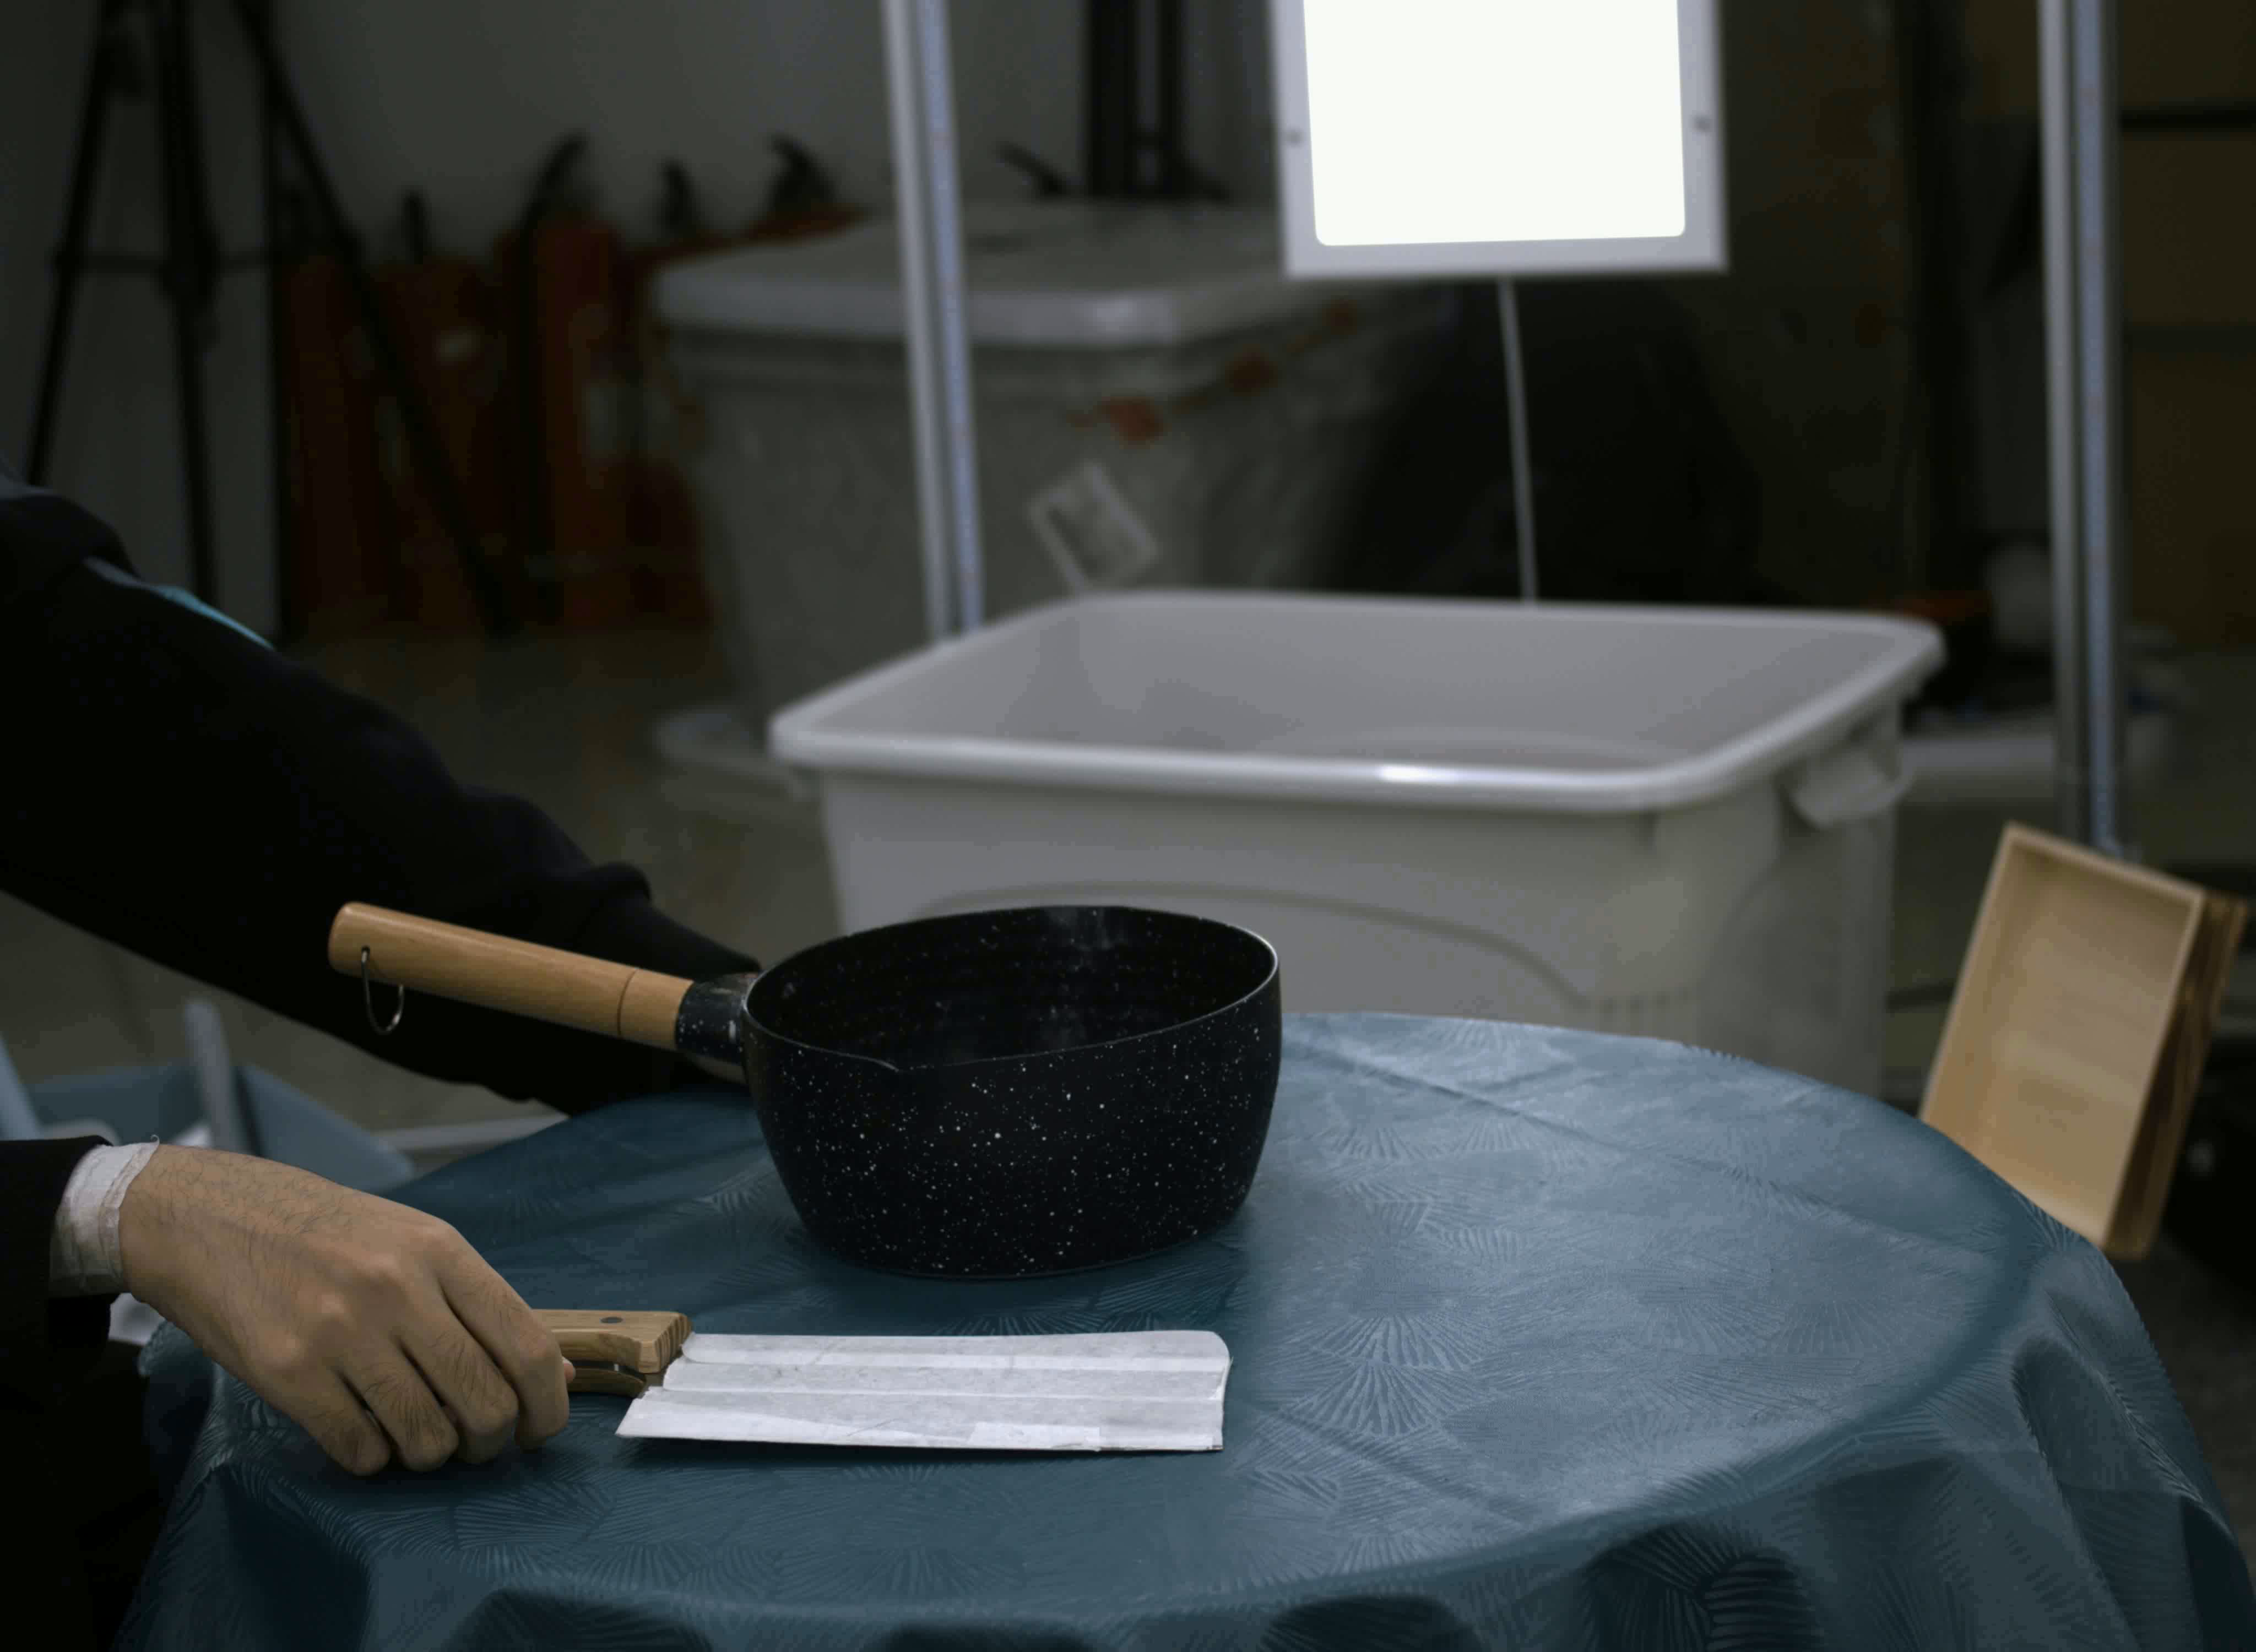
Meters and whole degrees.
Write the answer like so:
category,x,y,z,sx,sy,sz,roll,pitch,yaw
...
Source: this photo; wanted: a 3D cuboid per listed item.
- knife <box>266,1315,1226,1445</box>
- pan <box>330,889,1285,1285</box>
category,x,y,z,sx,sy,sz,roll,pitch,yaw
knife,-0.118,0.171,1.720,0.318,0.022,0.112,1,15,13
pan,-0.114,0.080,1.896,0.346,0.108,0.204,0,16,17
